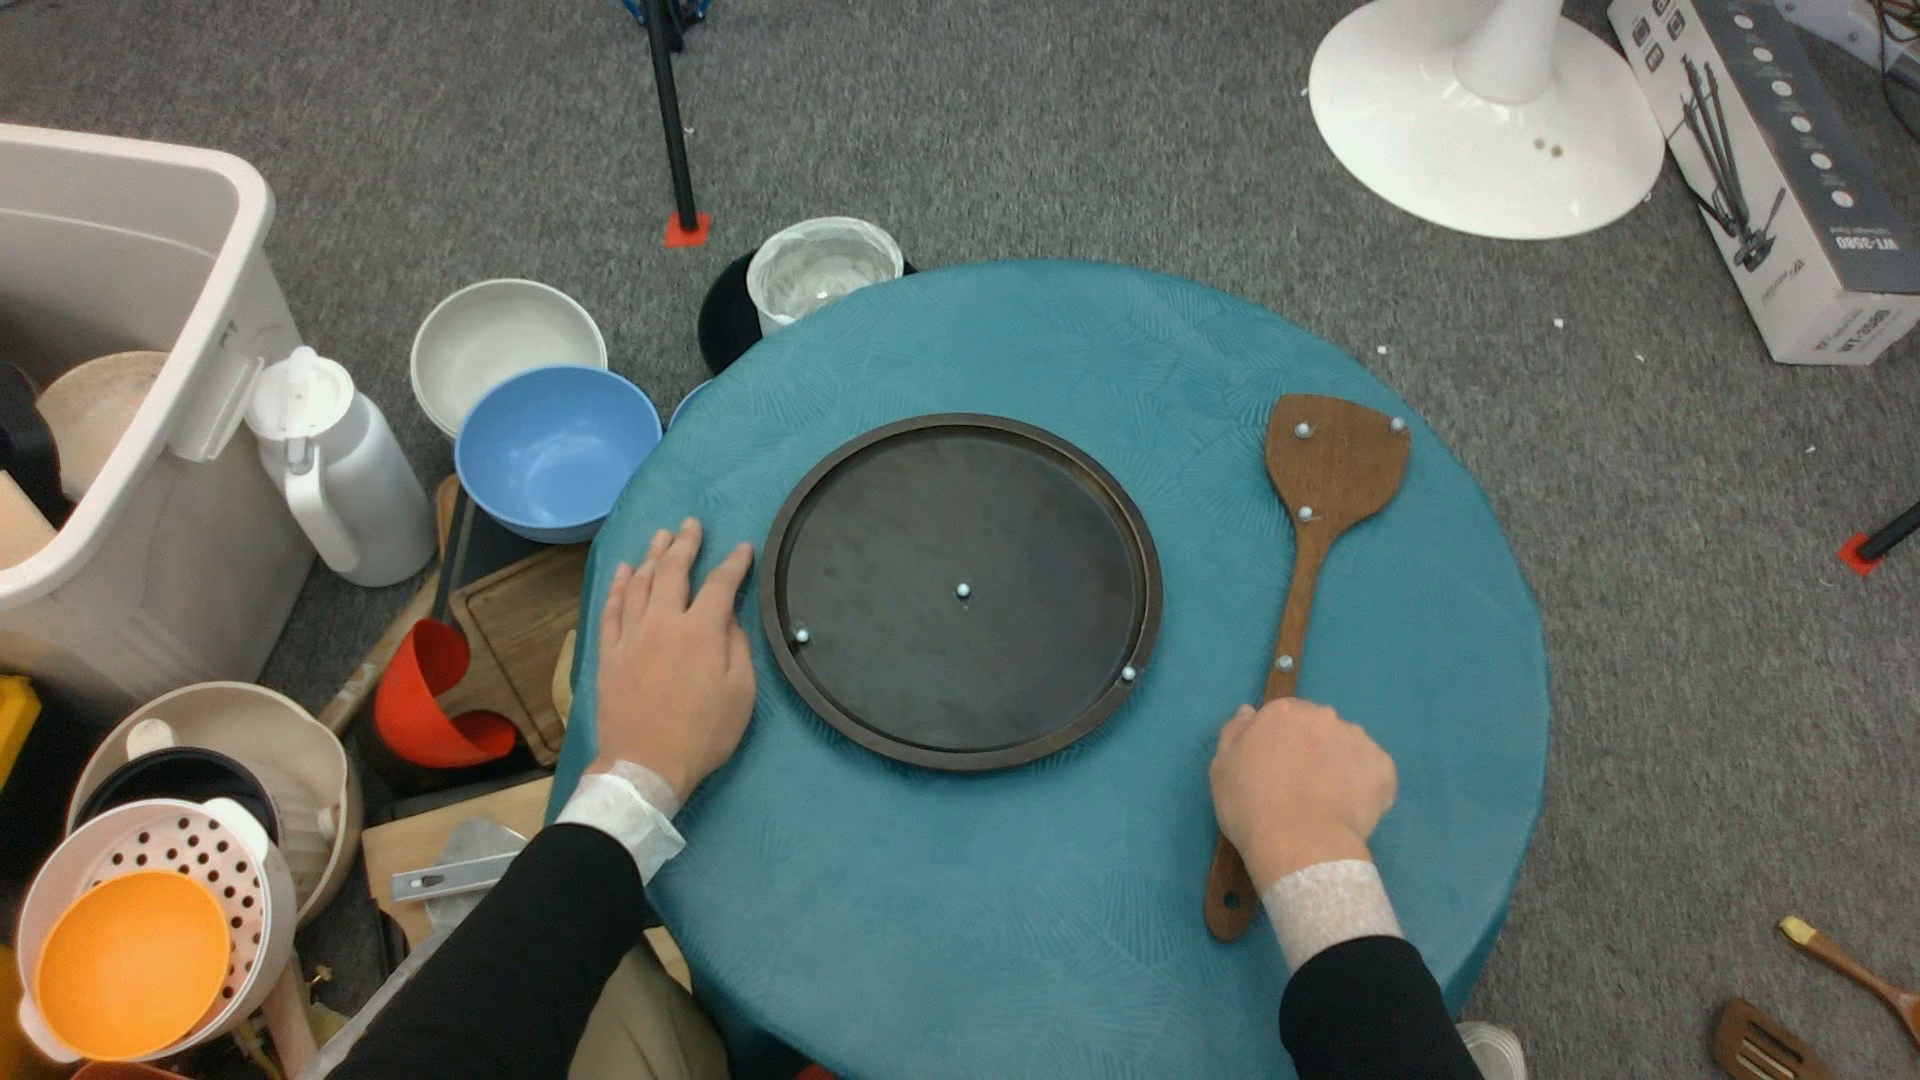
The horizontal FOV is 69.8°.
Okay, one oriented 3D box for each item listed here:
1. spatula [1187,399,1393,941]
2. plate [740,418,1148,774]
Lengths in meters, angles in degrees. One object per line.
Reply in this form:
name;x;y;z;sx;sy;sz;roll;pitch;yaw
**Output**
spatula;0.195;0.064;0.856;0.096;0.016;0.388;17;59;7
plate;-0.010;0.029;0.861;0.255;0.029;0.256;2;58;-4
